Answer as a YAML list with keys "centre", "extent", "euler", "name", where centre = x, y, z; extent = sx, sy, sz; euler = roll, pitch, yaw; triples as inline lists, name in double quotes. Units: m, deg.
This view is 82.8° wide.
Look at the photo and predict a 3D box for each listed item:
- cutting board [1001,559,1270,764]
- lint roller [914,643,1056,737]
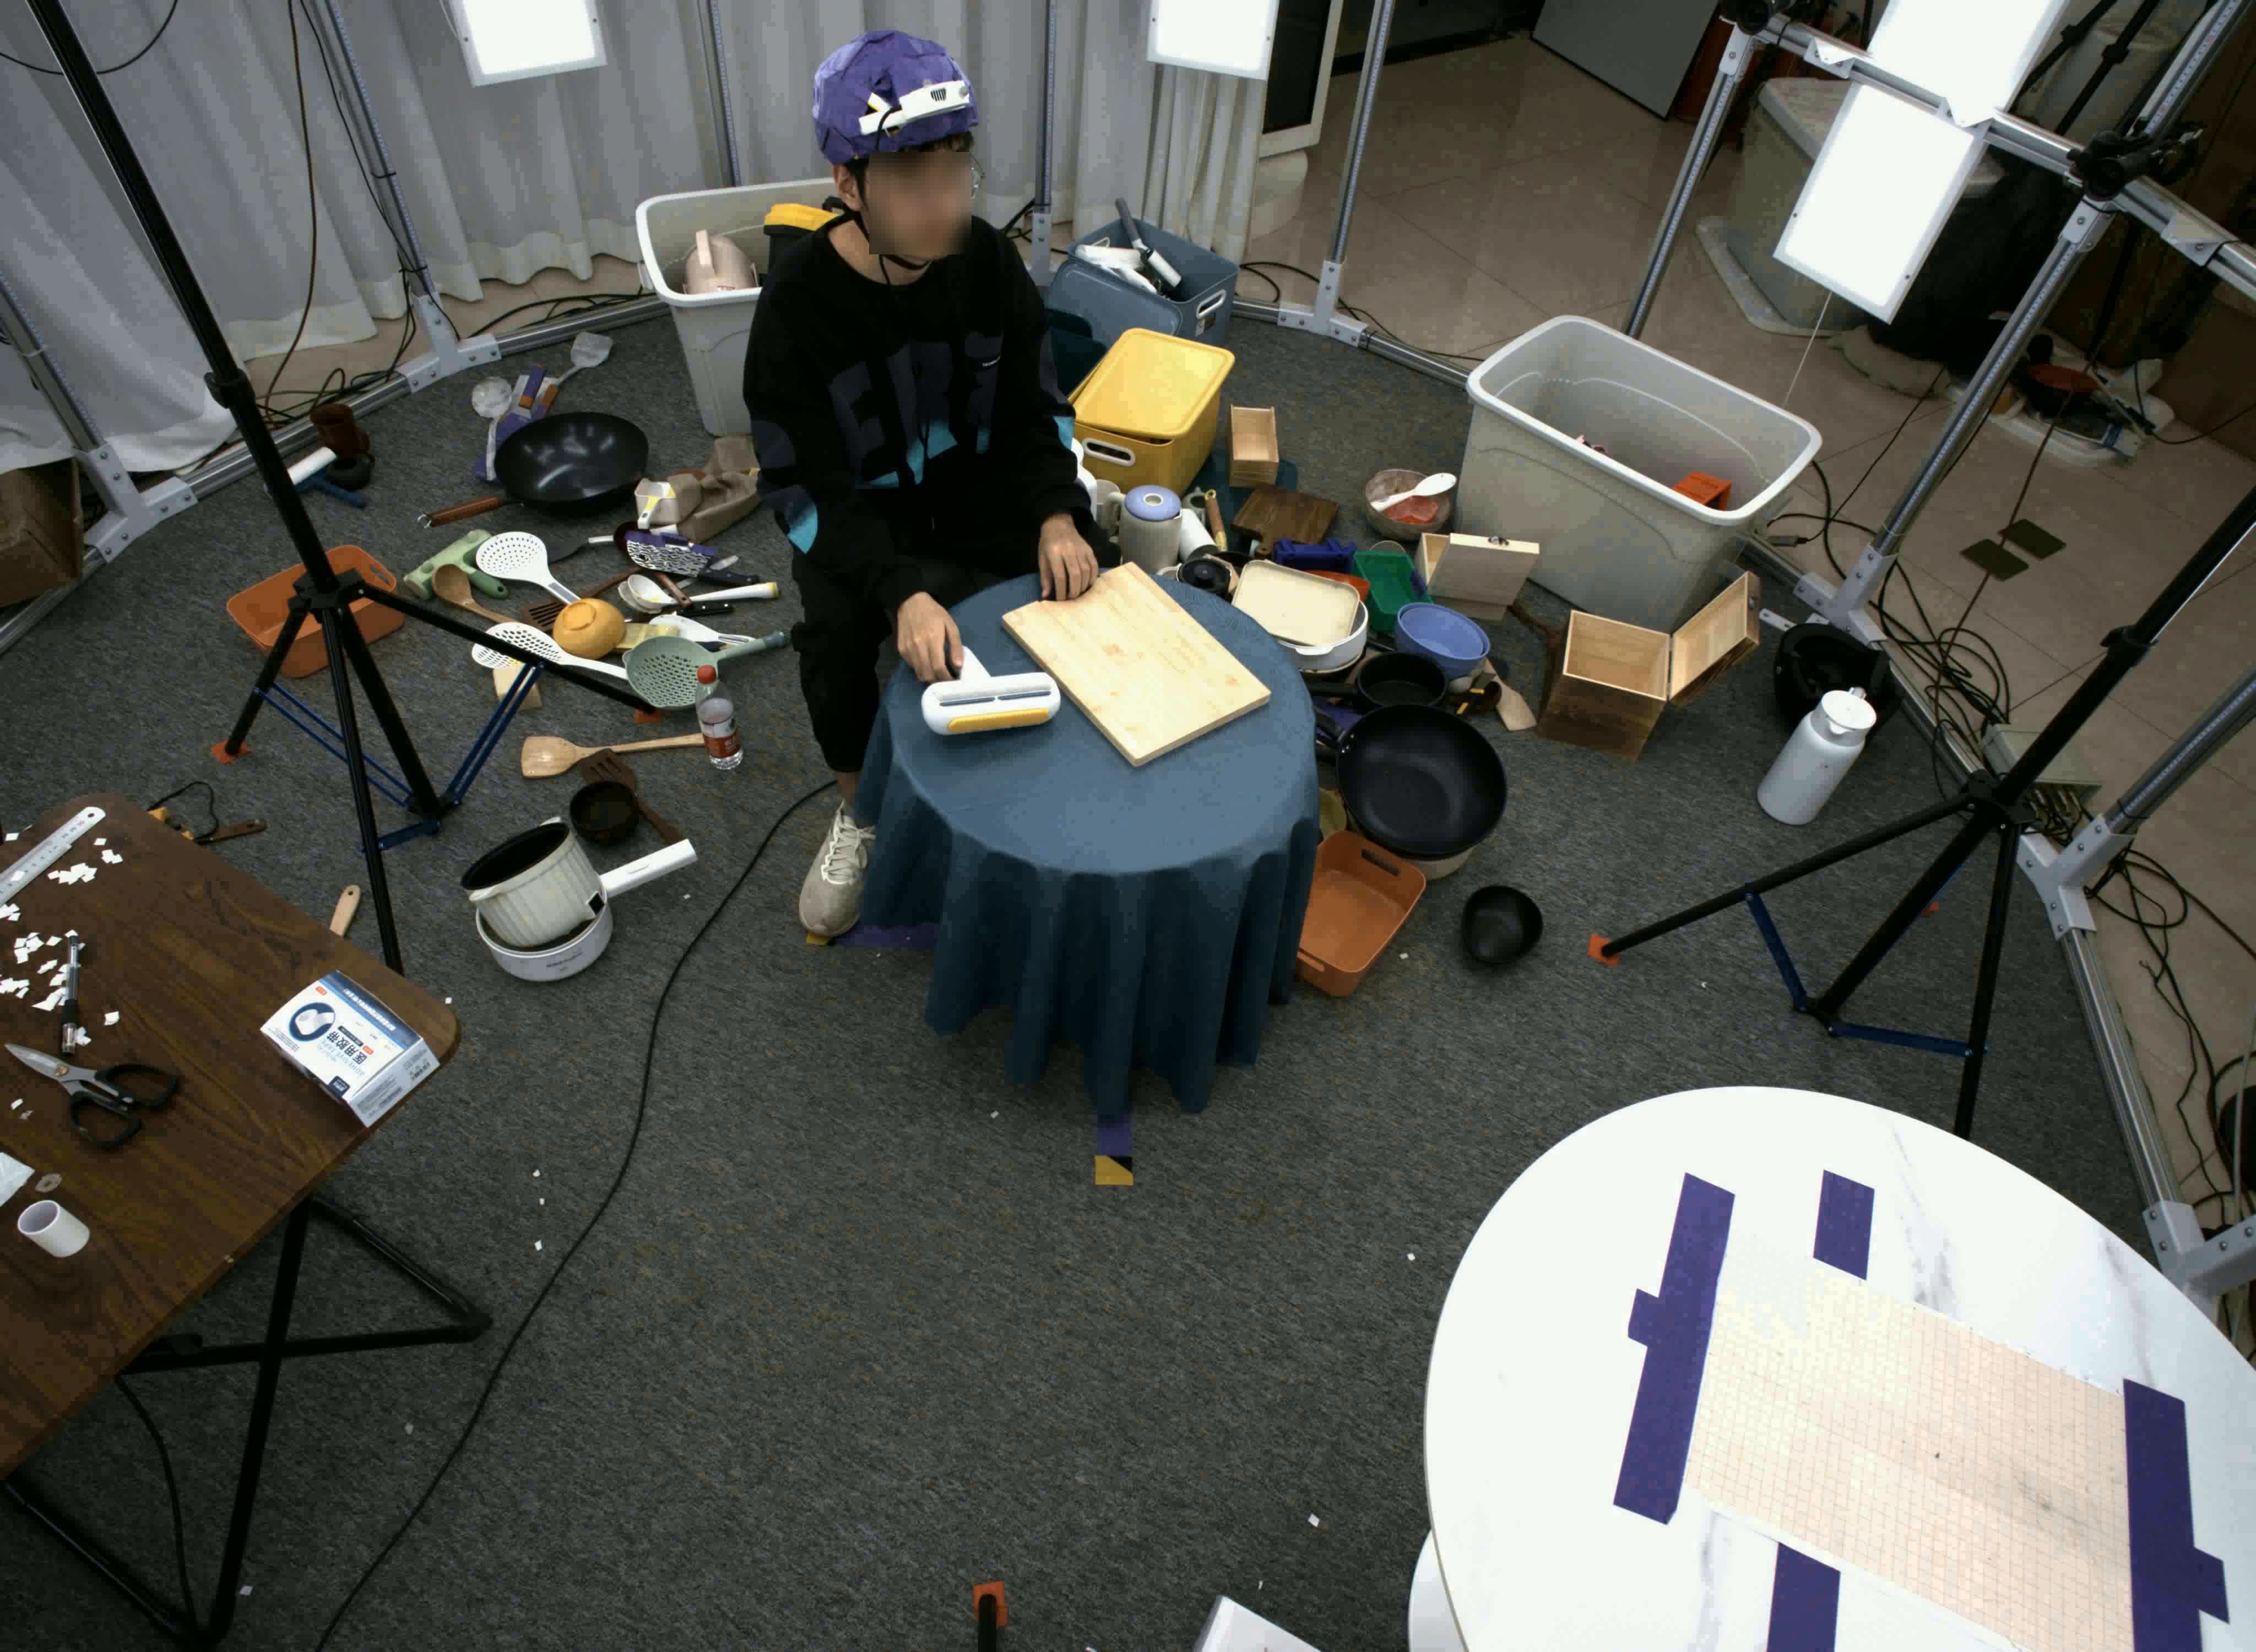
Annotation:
- centre: [0.006, -0.249, 1.874]
  extent: [0.252, 0.023, 0.355]
  euler: [-27, 56, -24]
  name: "cutting board"
- centre: [-0.211, -0.203, 1.787]
  extent: [0.192, 0.072, 0.197]
  euler: [-9, 49, -18]
  name: "lint roller"
